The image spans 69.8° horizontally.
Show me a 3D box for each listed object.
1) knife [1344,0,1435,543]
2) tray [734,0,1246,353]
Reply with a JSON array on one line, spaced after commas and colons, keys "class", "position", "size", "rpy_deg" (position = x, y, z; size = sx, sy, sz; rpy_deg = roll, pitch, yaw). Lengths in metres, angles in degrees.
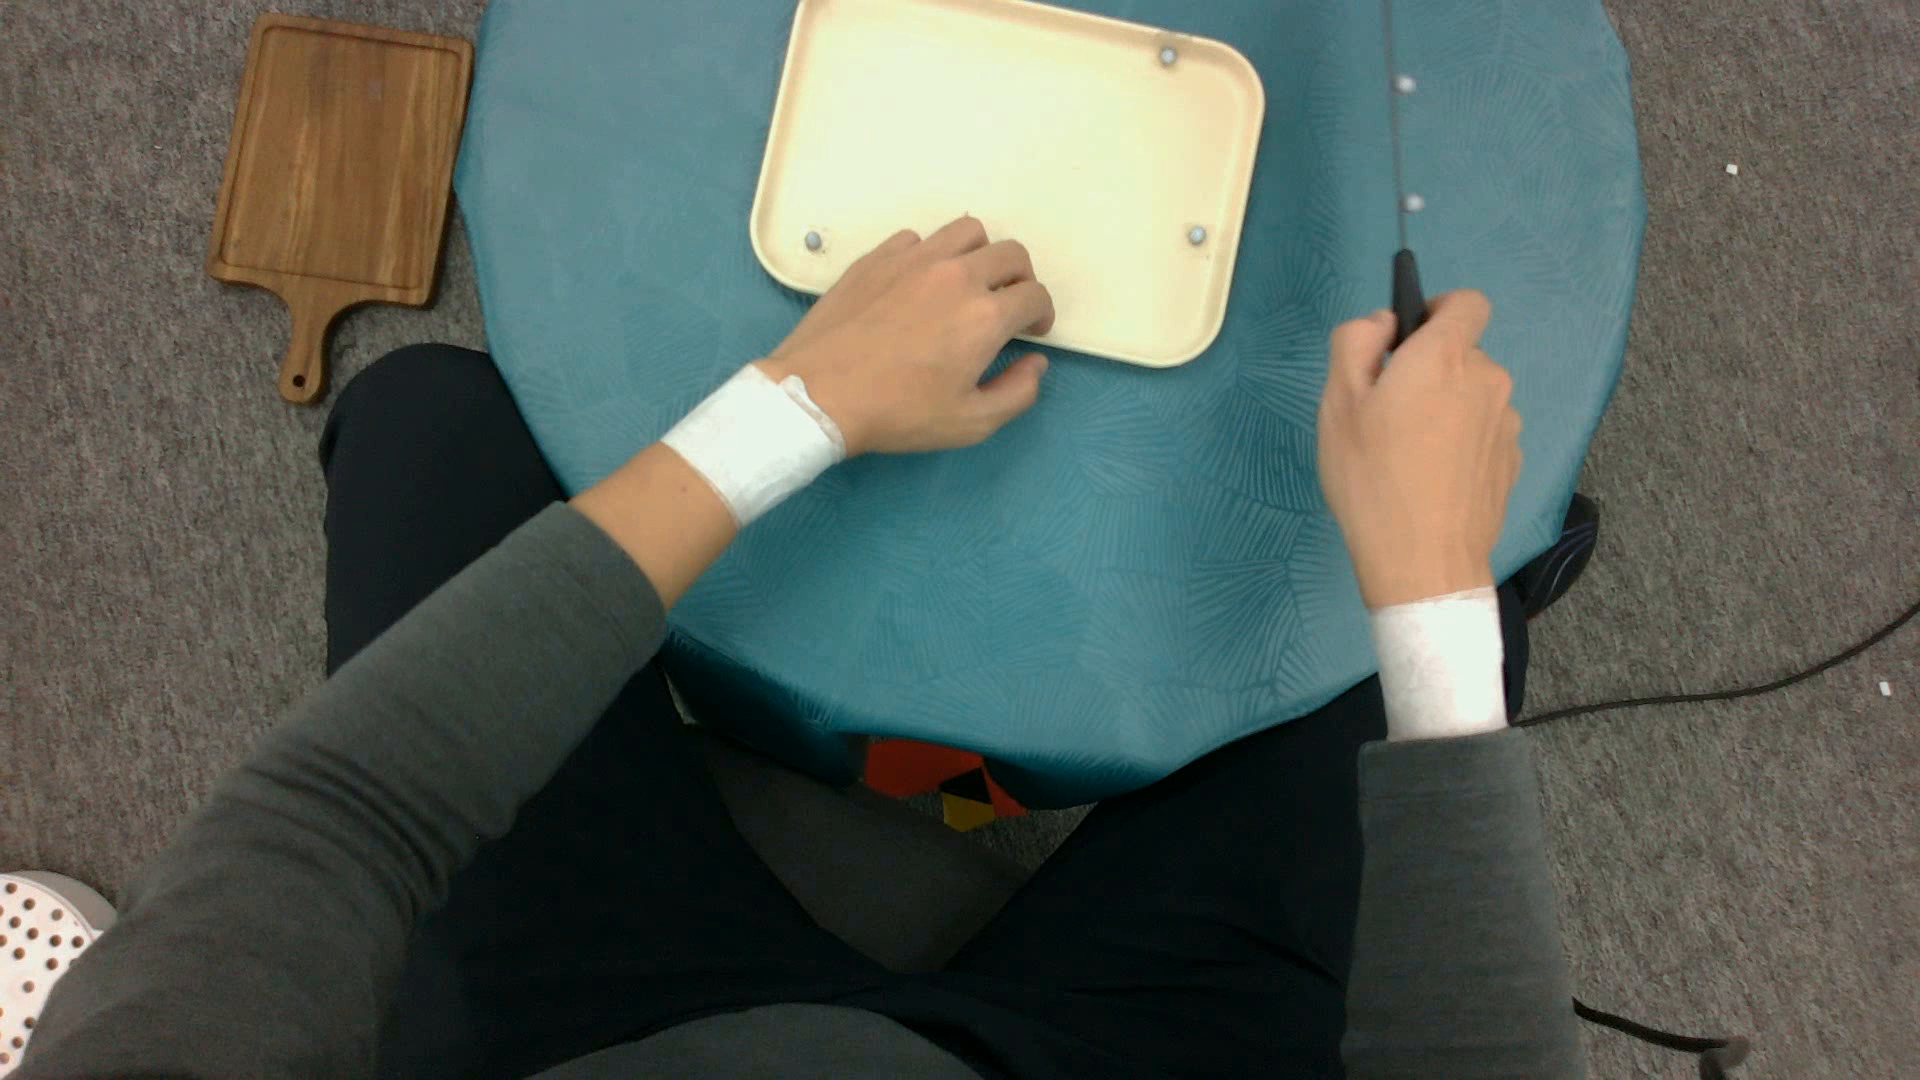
[{"class": "knife", "position": [0.187, -0.150, 0.623], "size": [0.021, 0.081, 0.302], "rpy_deg": [-7, 81, 19]}, {"class": "tray", "position": [0.016, -0.192, 0.691], "size": [0.240, 0.017, 0.171], "rpy_deg": [12, 84, -2]}]
